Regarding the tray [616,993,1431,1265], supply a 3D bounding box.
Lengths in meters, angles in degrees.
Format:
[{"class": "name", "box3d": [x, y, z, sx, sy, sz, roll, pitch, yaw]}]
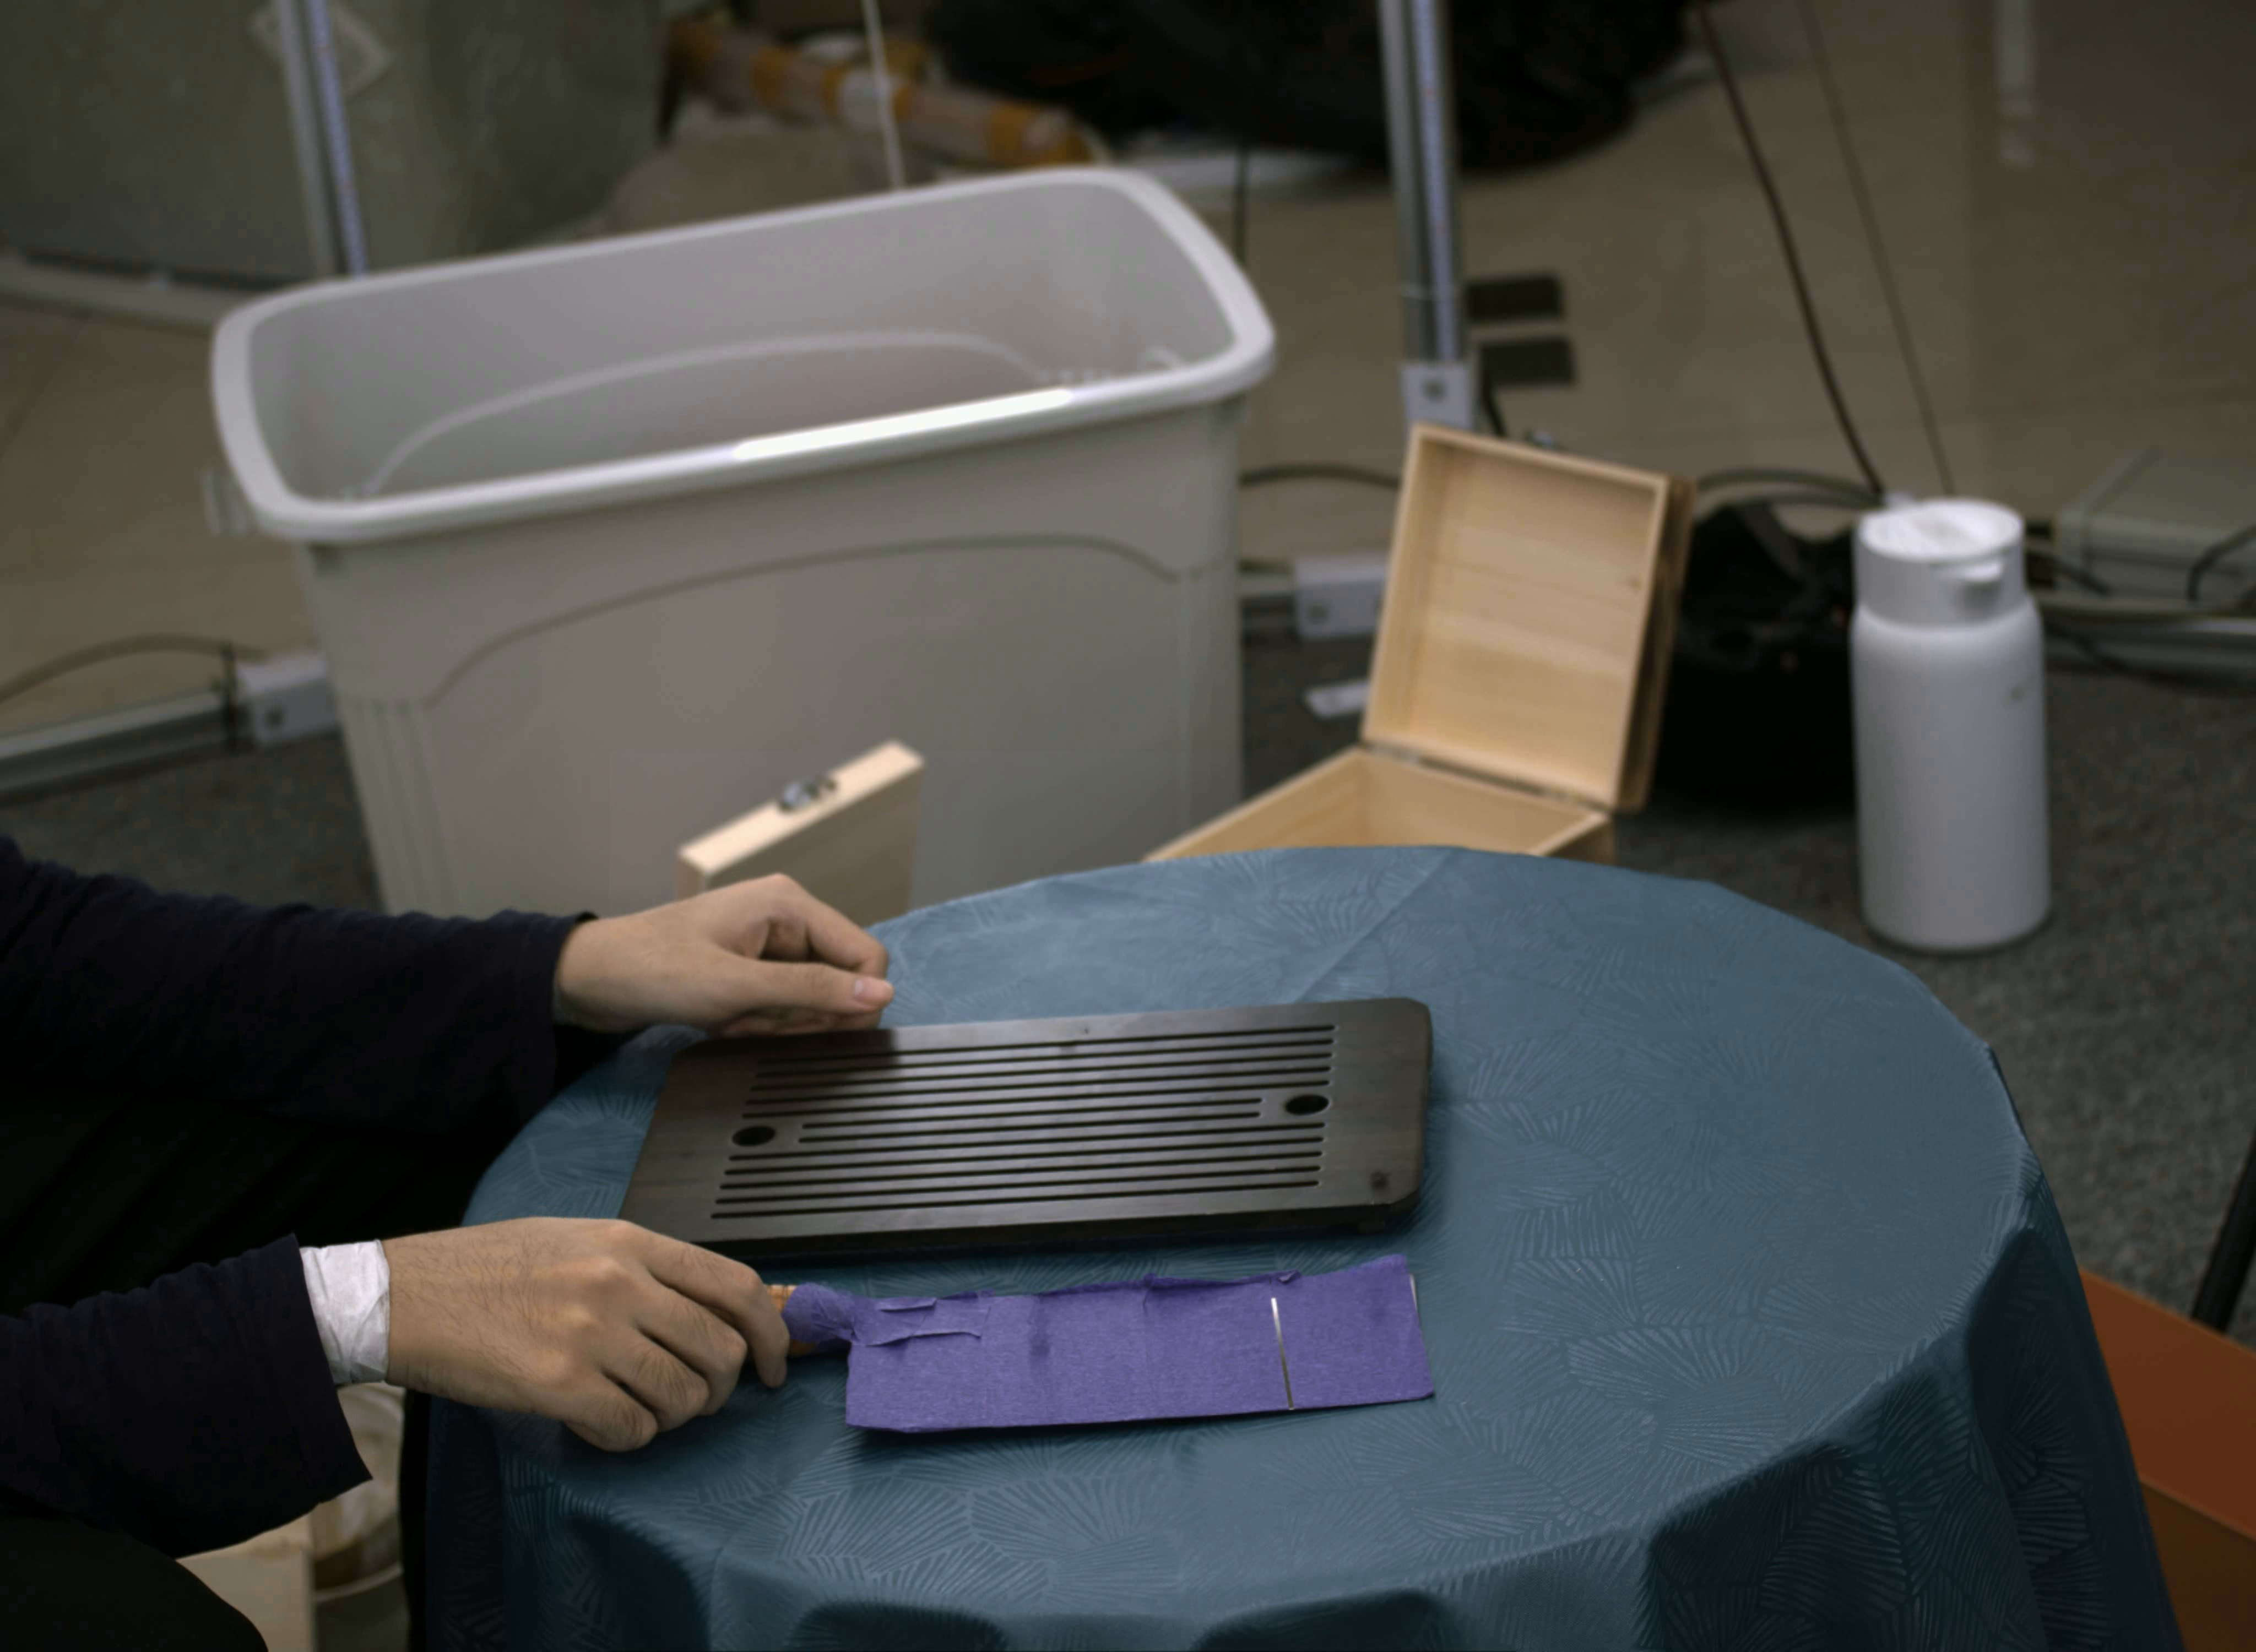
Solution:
[{"class": "tray", "box3d": [-0.037, 0.117, 2.186, 0.305, 0.019, 0.167, -4, 25, 7]}]

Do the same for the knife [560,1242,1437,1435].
[{"class": "knife", "box3d": [-0.048, 0.186, 2.031, 0.315, 0.033, 0.102, -6, 25, 1]}]
